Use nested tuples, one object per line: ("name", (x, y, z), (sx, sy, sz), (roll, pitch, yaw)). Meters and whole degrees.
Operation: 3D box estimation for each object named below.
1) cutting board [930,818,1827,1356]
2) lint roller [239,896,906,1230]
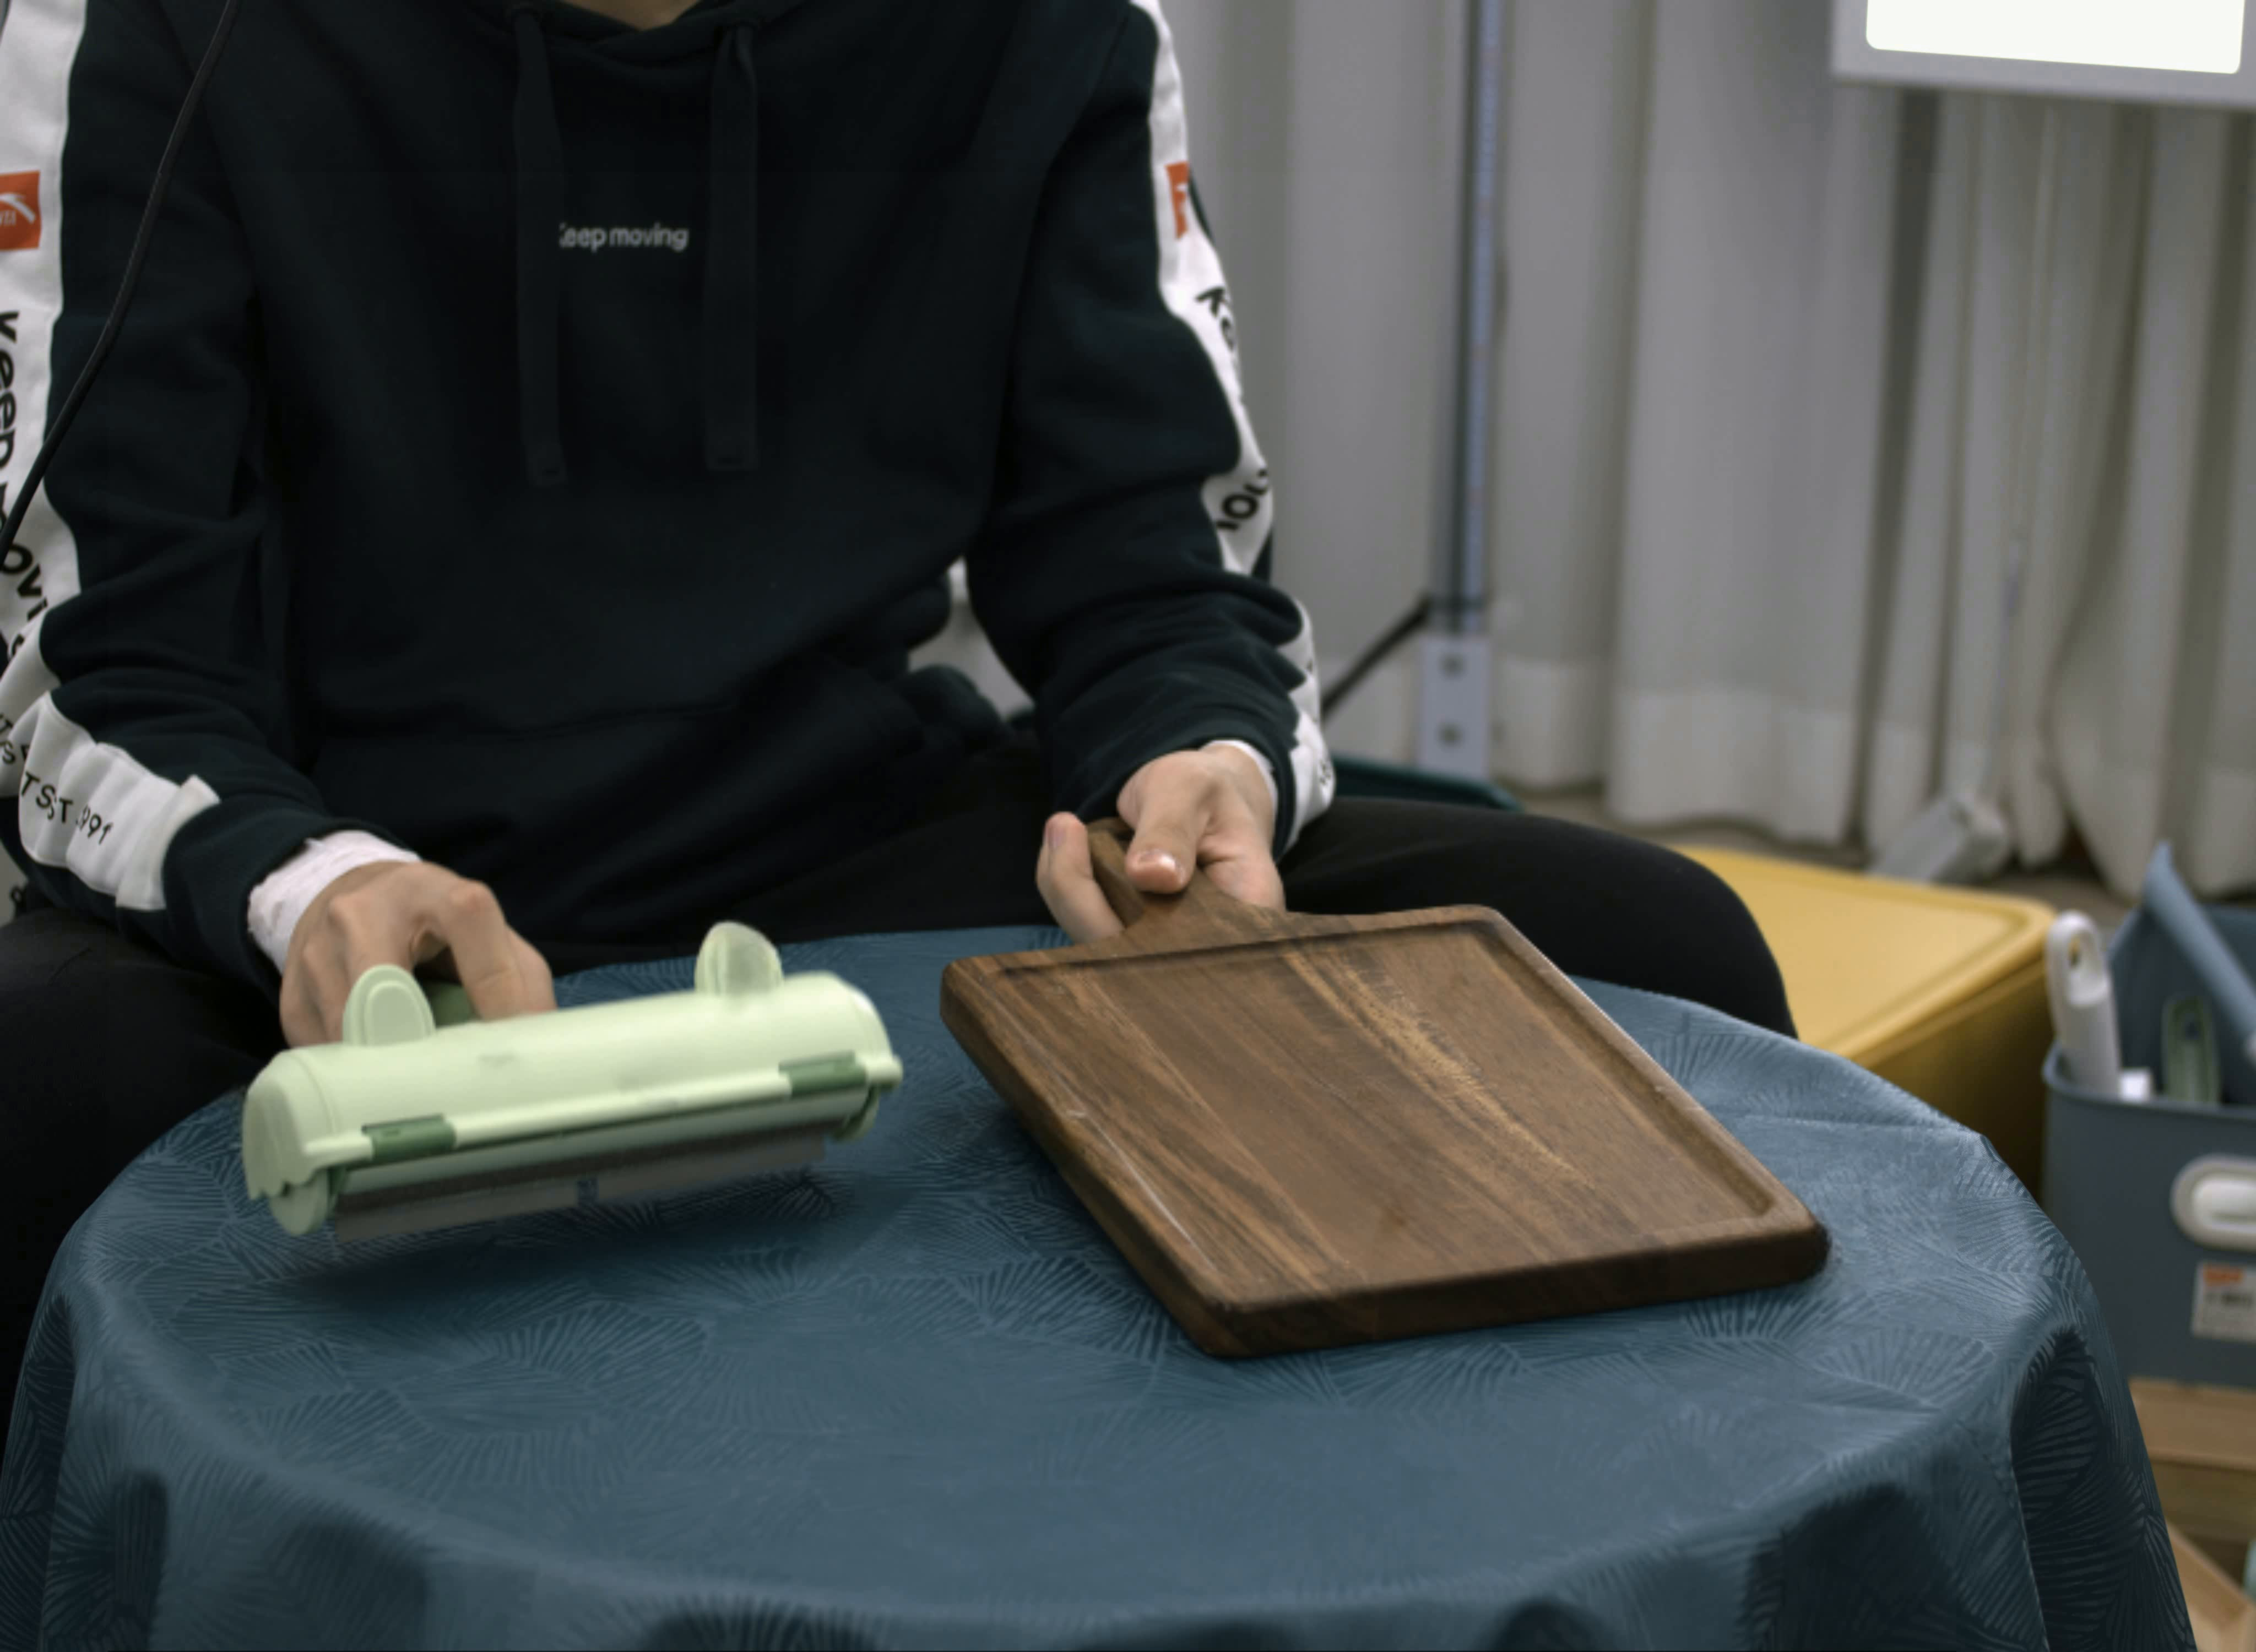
("cutting board", (0.054, 0.070, 1.657), (0.201, 0.023, 0.348), (-5, 23, -21))
("lint roller", (-0.193, 0.054, 1.605), (0.199, 0.083, 0.181), (-9, 23, -31))
